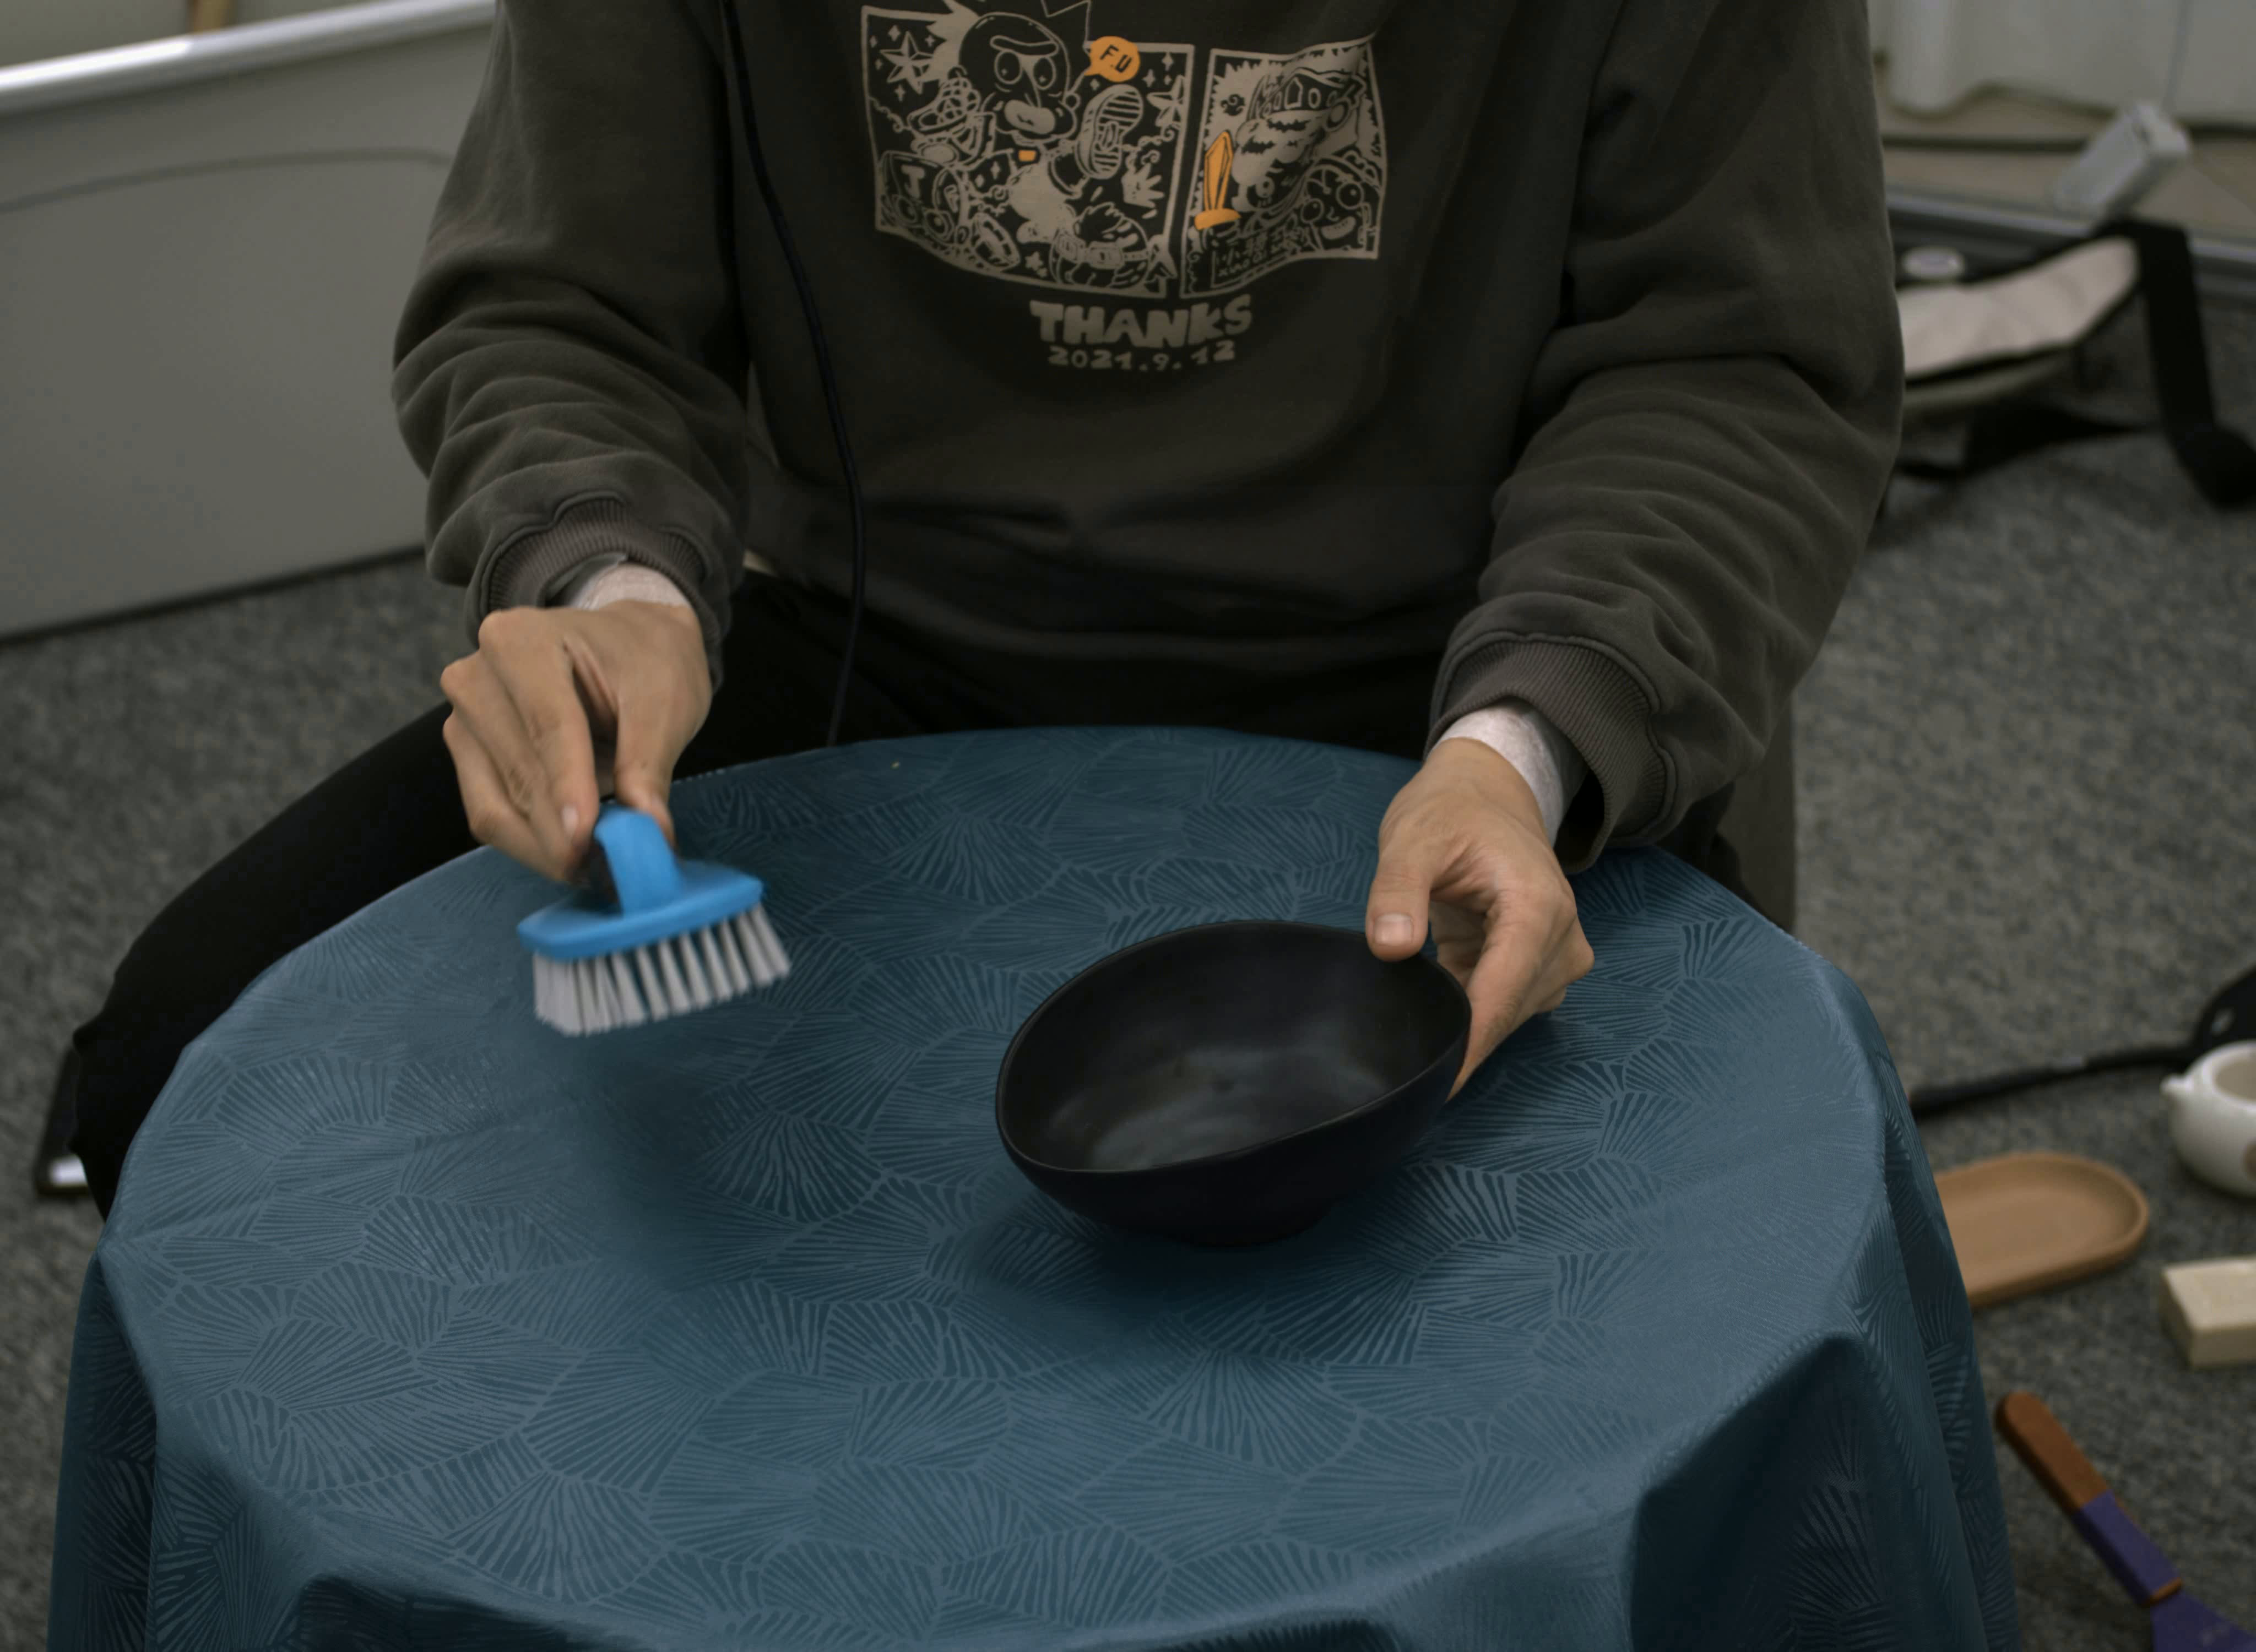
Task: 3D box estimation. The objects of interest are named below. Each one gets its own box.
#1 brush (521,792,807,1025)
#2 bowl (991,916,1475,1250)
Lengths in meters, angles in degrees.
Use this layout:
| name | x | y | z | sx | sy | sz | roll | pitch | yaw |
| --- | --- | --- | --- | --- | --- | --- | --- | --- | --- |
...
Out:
| name | x | y | z | sx | sy | sz | roll | pitch | yaw |
| --- | --- | --- | --- | --- | --- | --- | --- | --- | --- |
| brush | -0.159 | 0.021 | 1.848 | 0.084 | 0.064 | 0.141 | -21 | 5 | -11 |
| bowl | 0.037 | 0.095 | 1.842 | 0.172 | 0.066 | 0.137 | -24 | 33 | -32 |
